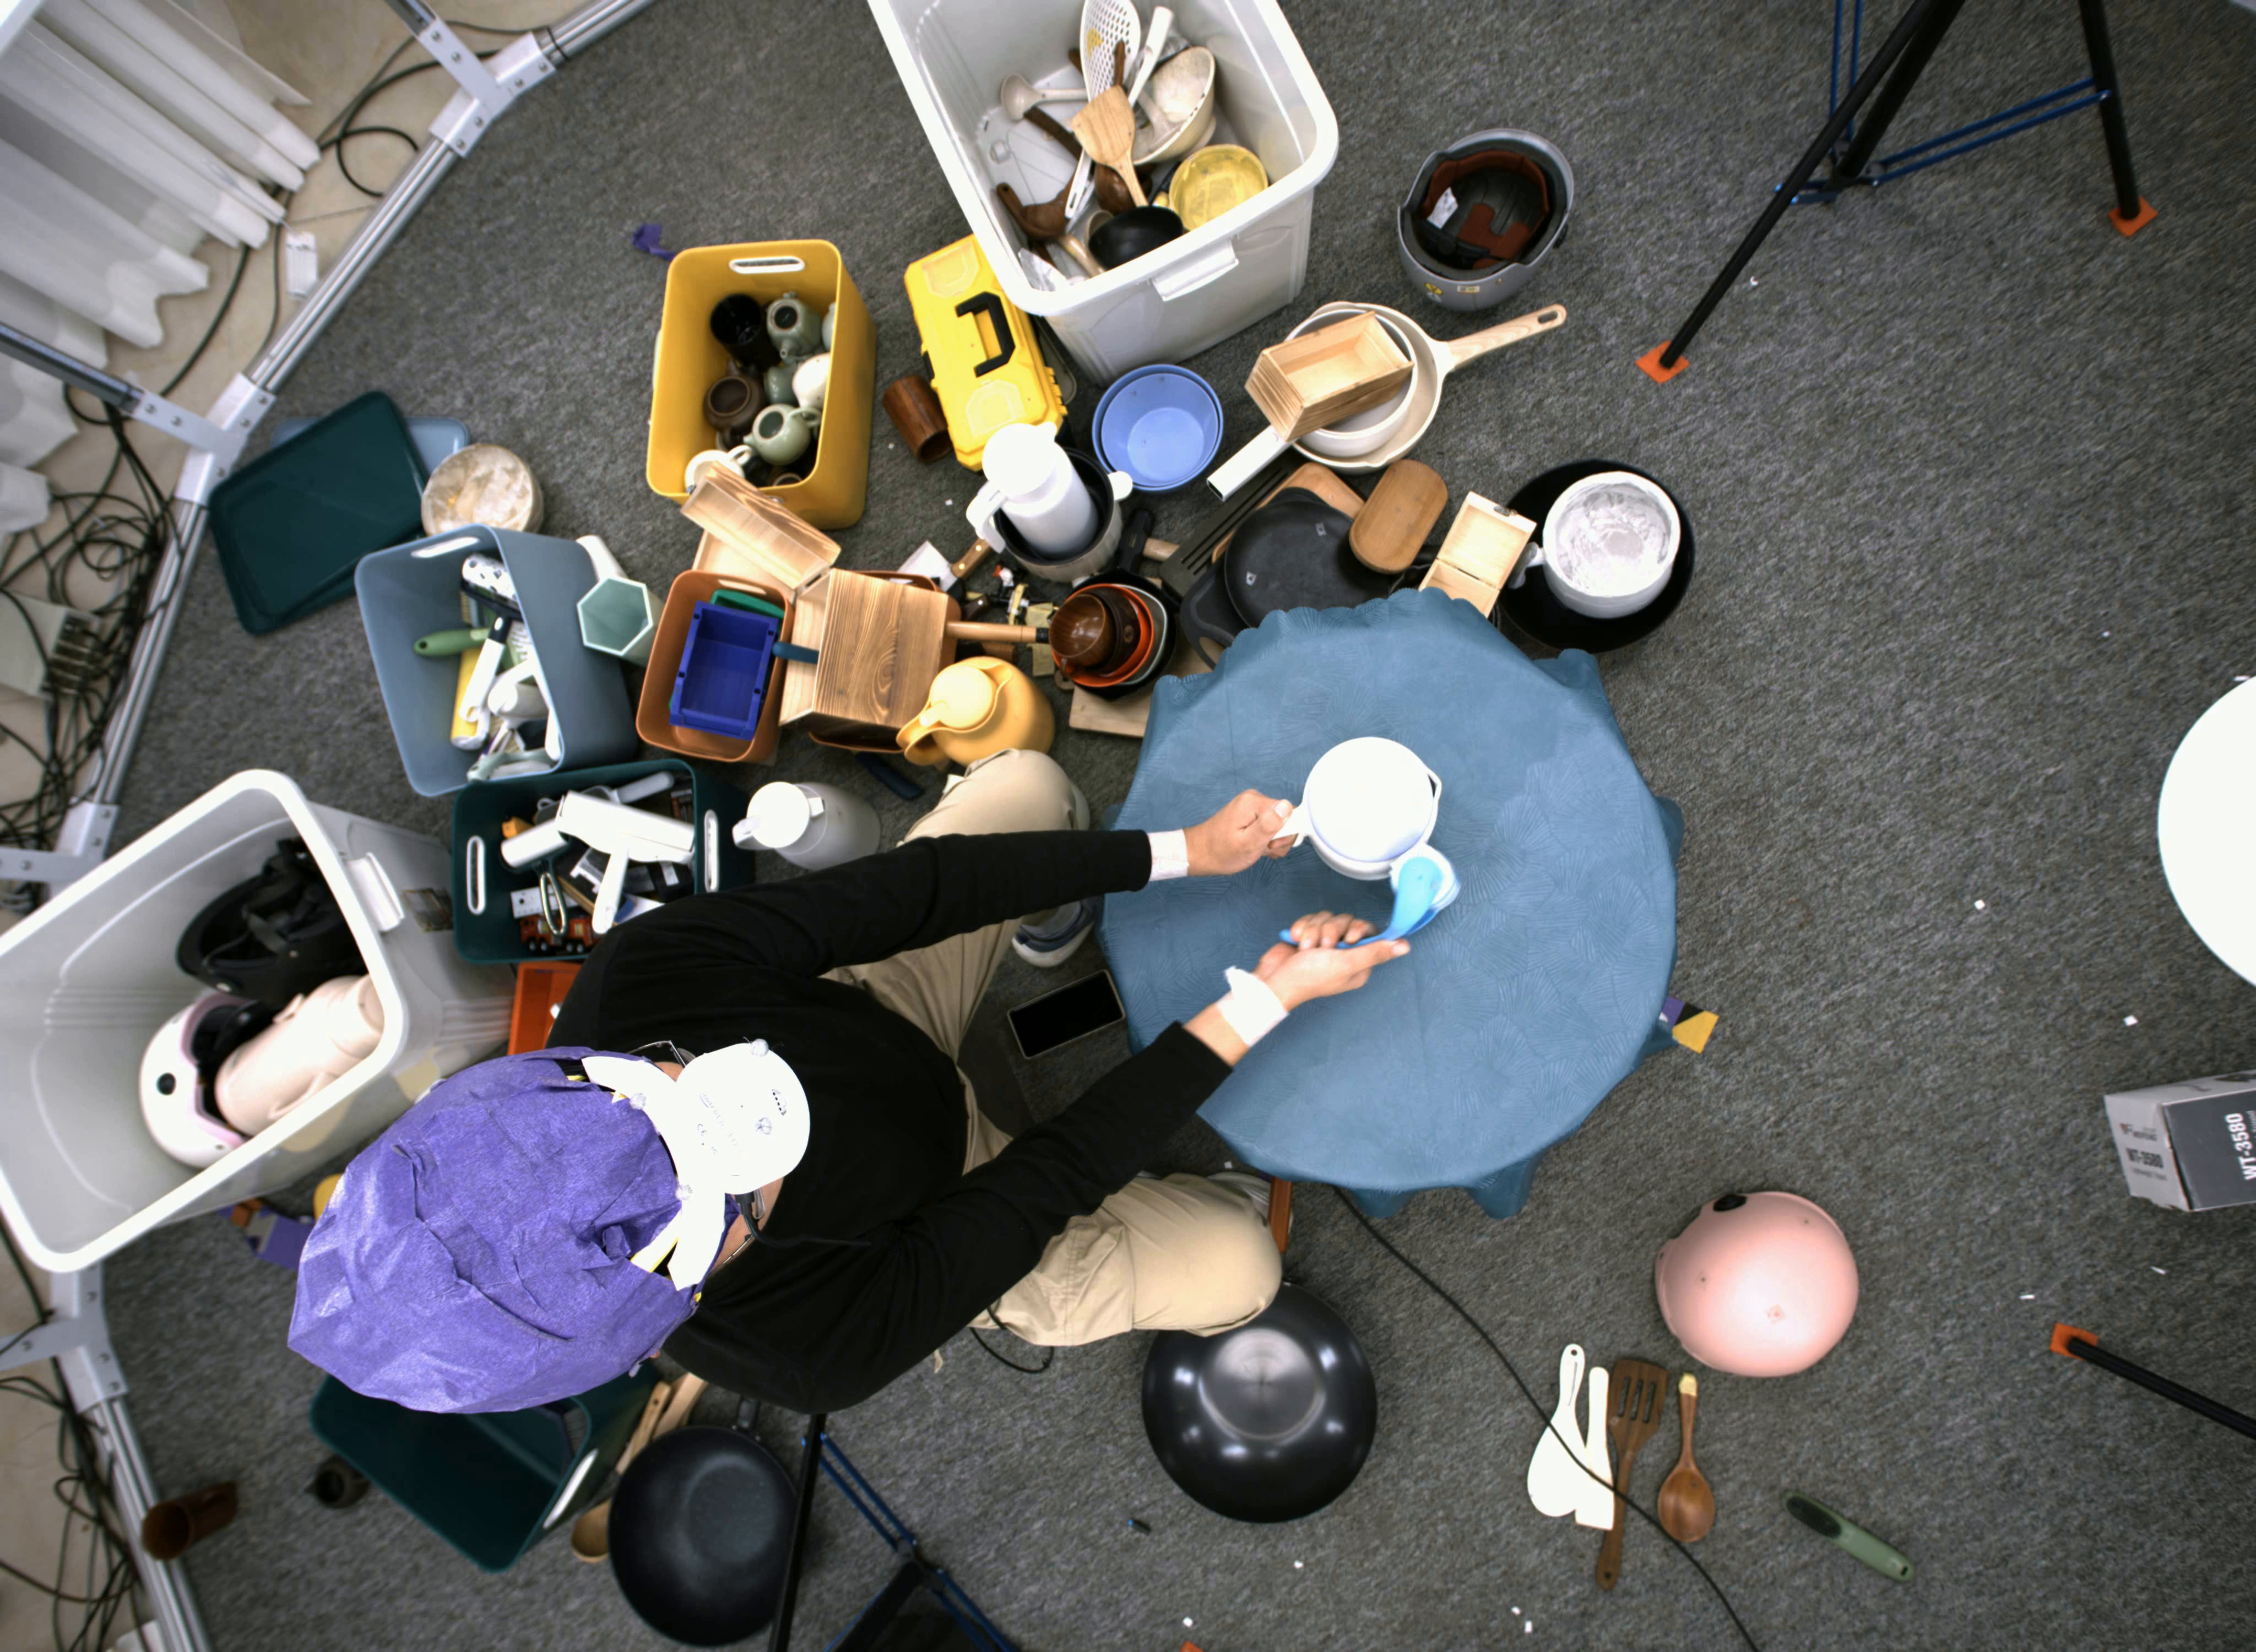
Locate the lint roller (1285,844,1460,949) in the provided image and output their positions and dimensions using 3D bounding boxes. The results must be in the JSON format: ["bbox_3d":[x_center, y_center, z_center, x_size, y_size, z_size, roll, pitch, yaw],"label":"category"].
[{"bbox_3d":[0.244,0.082,1.346,0.182,0.228,0.067,-35,80,13],"label":"lint roller"}]

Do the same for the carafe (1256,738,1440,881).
[{"bbox_3d":[0.219,-0.010,1.387,0.192,0.182,0.131,-16,82,11],"label":"carafe"}]
